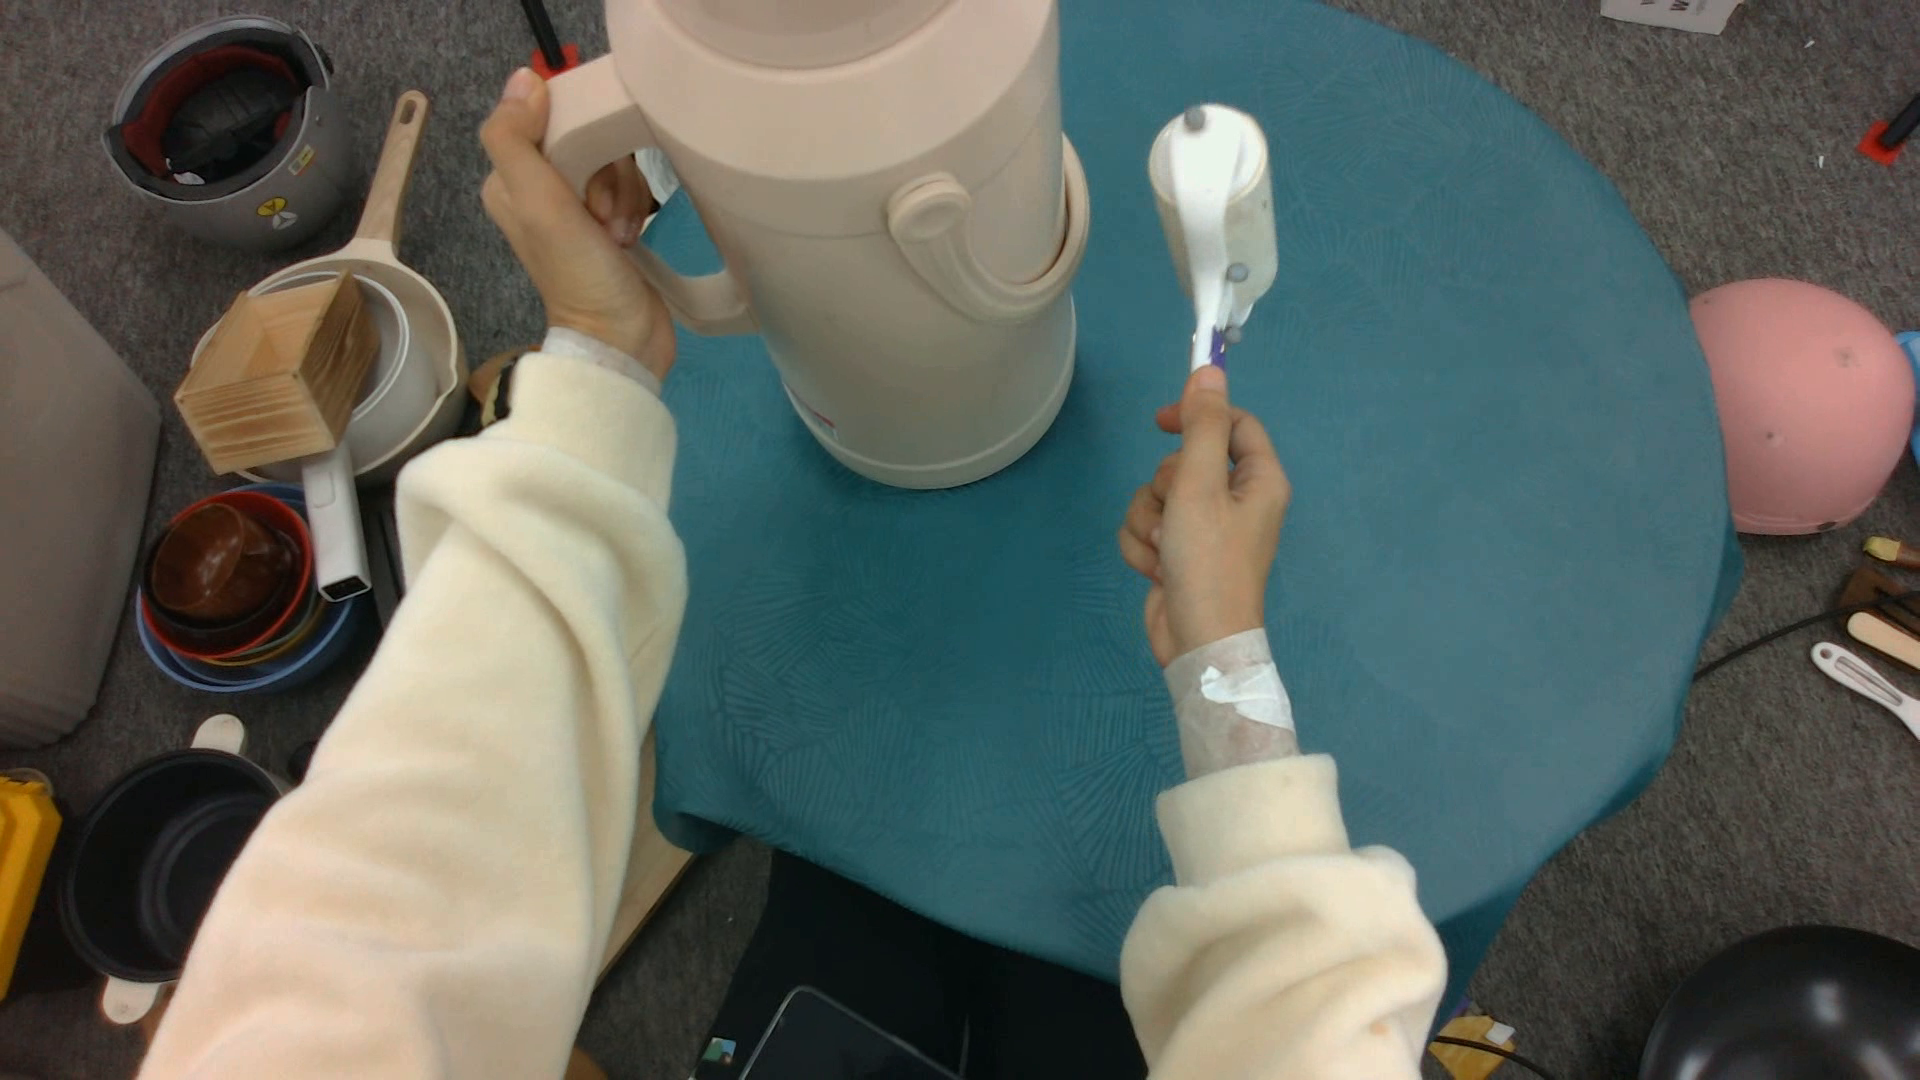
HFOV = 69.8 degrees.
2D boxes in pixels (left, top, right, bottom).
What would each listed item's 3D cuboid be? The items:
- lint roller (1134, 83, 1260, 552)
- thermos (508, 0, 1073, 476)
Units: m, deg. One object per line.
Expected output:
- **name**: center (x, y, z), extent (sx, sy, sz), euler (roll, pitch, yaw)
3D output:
- **lint roller**: center (0.106, -0.085, 0.570), extent (0.050, 0.133, 0.181), euler (-7, 73, 12)
- **thermos**: center (-0.056, -0.163, 0.567), extent (0.207, 0.405, 0.175), euler (-24, 72, -3)
